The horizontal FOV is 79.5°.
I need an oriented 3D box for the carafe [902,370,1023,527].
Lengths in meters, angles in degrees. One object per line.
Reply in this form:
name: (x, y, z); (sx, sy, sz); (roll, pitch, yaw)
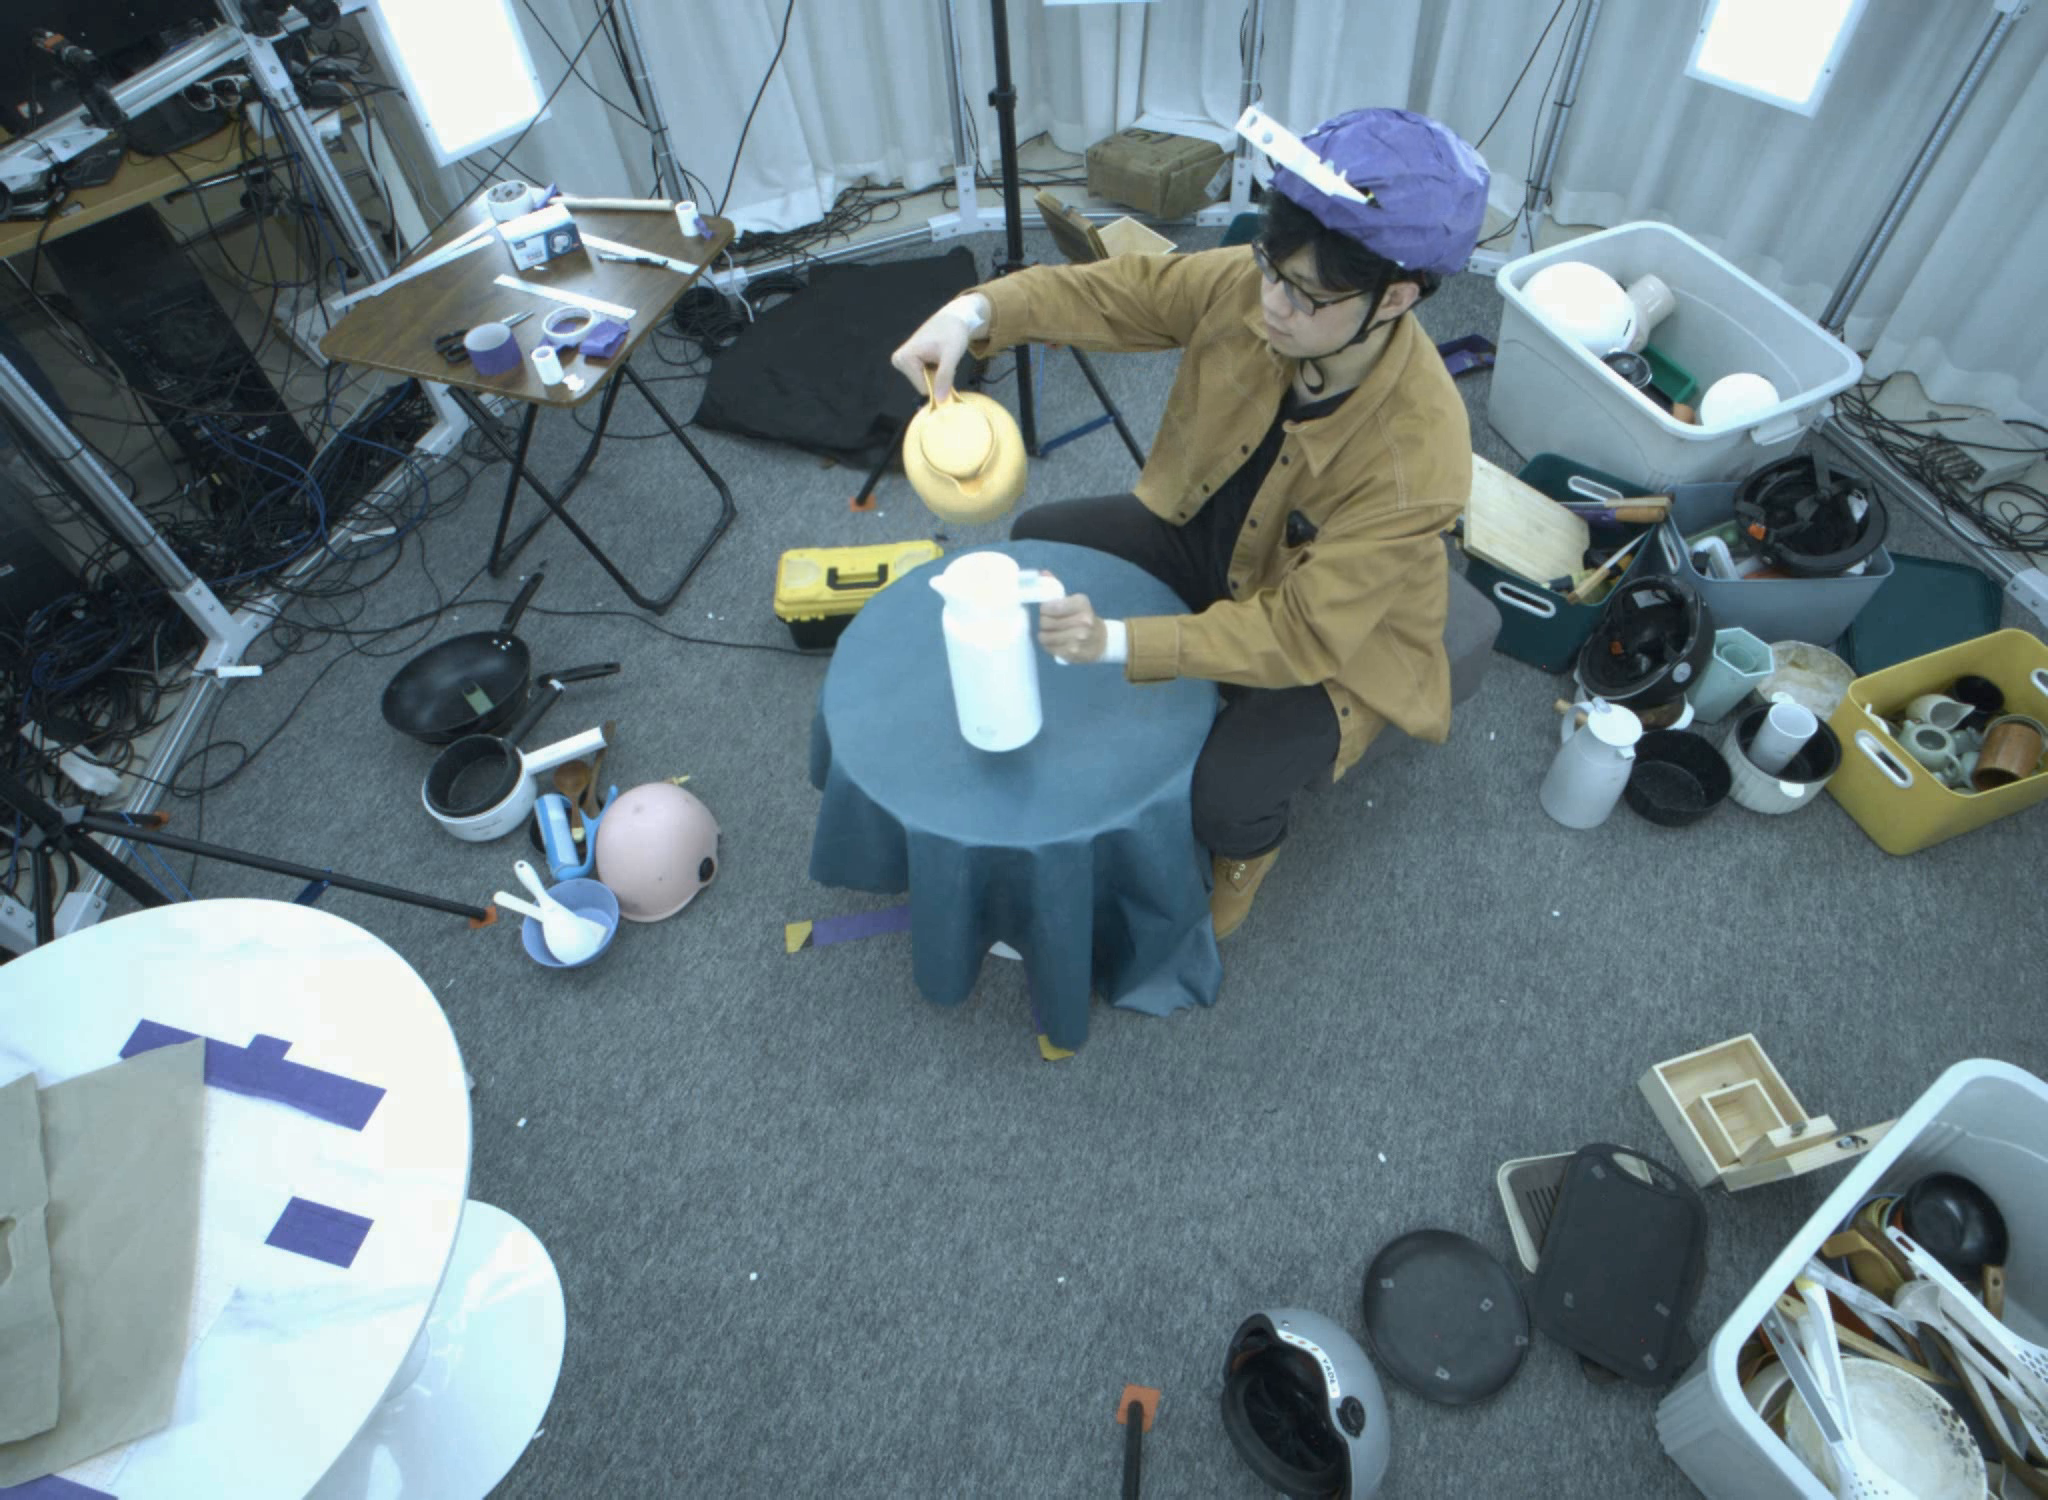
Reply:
carafe: (-0.088, -0.409, 1.615); (0.164, 0.259, 0.203); (-15, 94, -1)

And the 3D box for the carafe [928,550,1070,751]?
carafe: (-0.026, -0.129, 1.633); (0.172, 0.272, 0.122); (-2, 44, 5)
